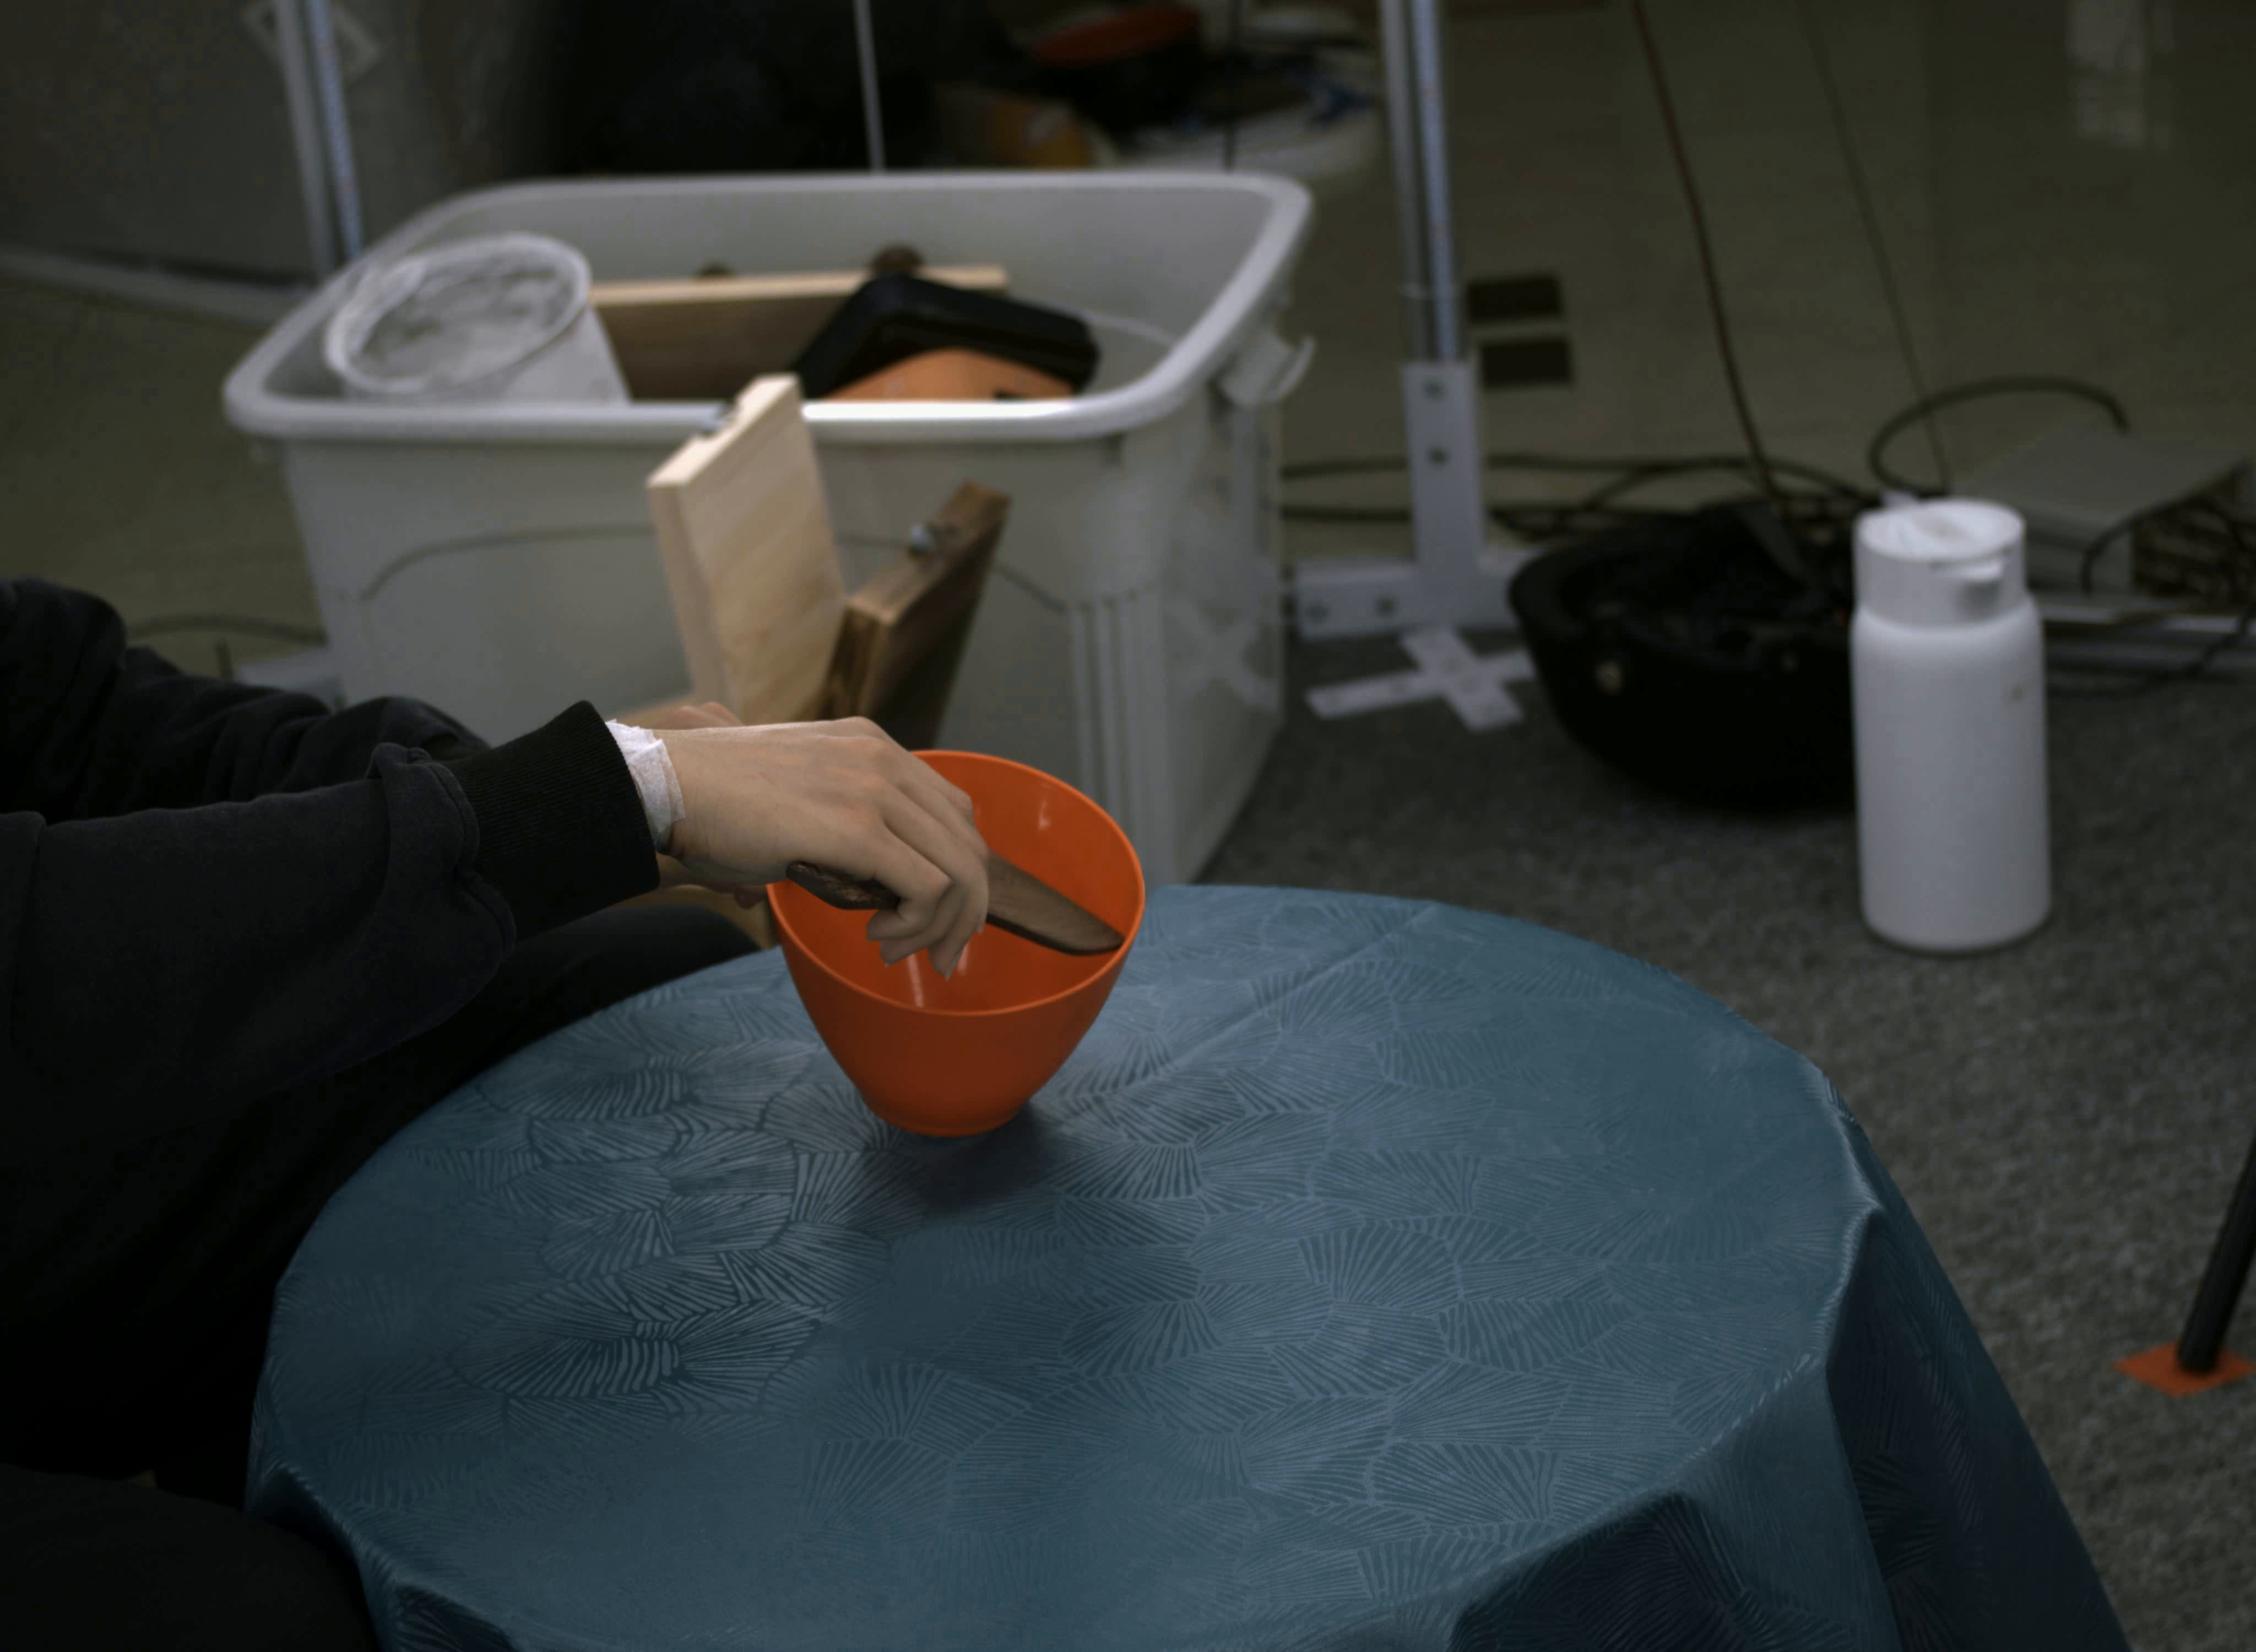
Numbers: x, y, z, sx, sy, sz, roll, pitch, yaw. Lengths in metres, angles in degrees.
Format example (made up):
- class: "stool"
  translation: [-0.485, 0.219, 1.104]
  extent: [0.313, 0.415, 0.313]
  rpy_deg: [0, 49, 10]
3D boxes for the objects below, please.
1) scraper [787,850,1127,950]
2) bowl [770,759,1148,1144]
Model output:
- class: "scraper"
  translation: [-0.070, 0.025, 2.109]
  extent: [0.075, 0.011, 0.211]
  rpy_deg: [30, 10, 22]
- class: "bowl"
  translation: [-0.069, 0.057, 2.209]
  extent: [0.148, 0.106, 0.145]
  rpy_deg: [5, 33, -3]
